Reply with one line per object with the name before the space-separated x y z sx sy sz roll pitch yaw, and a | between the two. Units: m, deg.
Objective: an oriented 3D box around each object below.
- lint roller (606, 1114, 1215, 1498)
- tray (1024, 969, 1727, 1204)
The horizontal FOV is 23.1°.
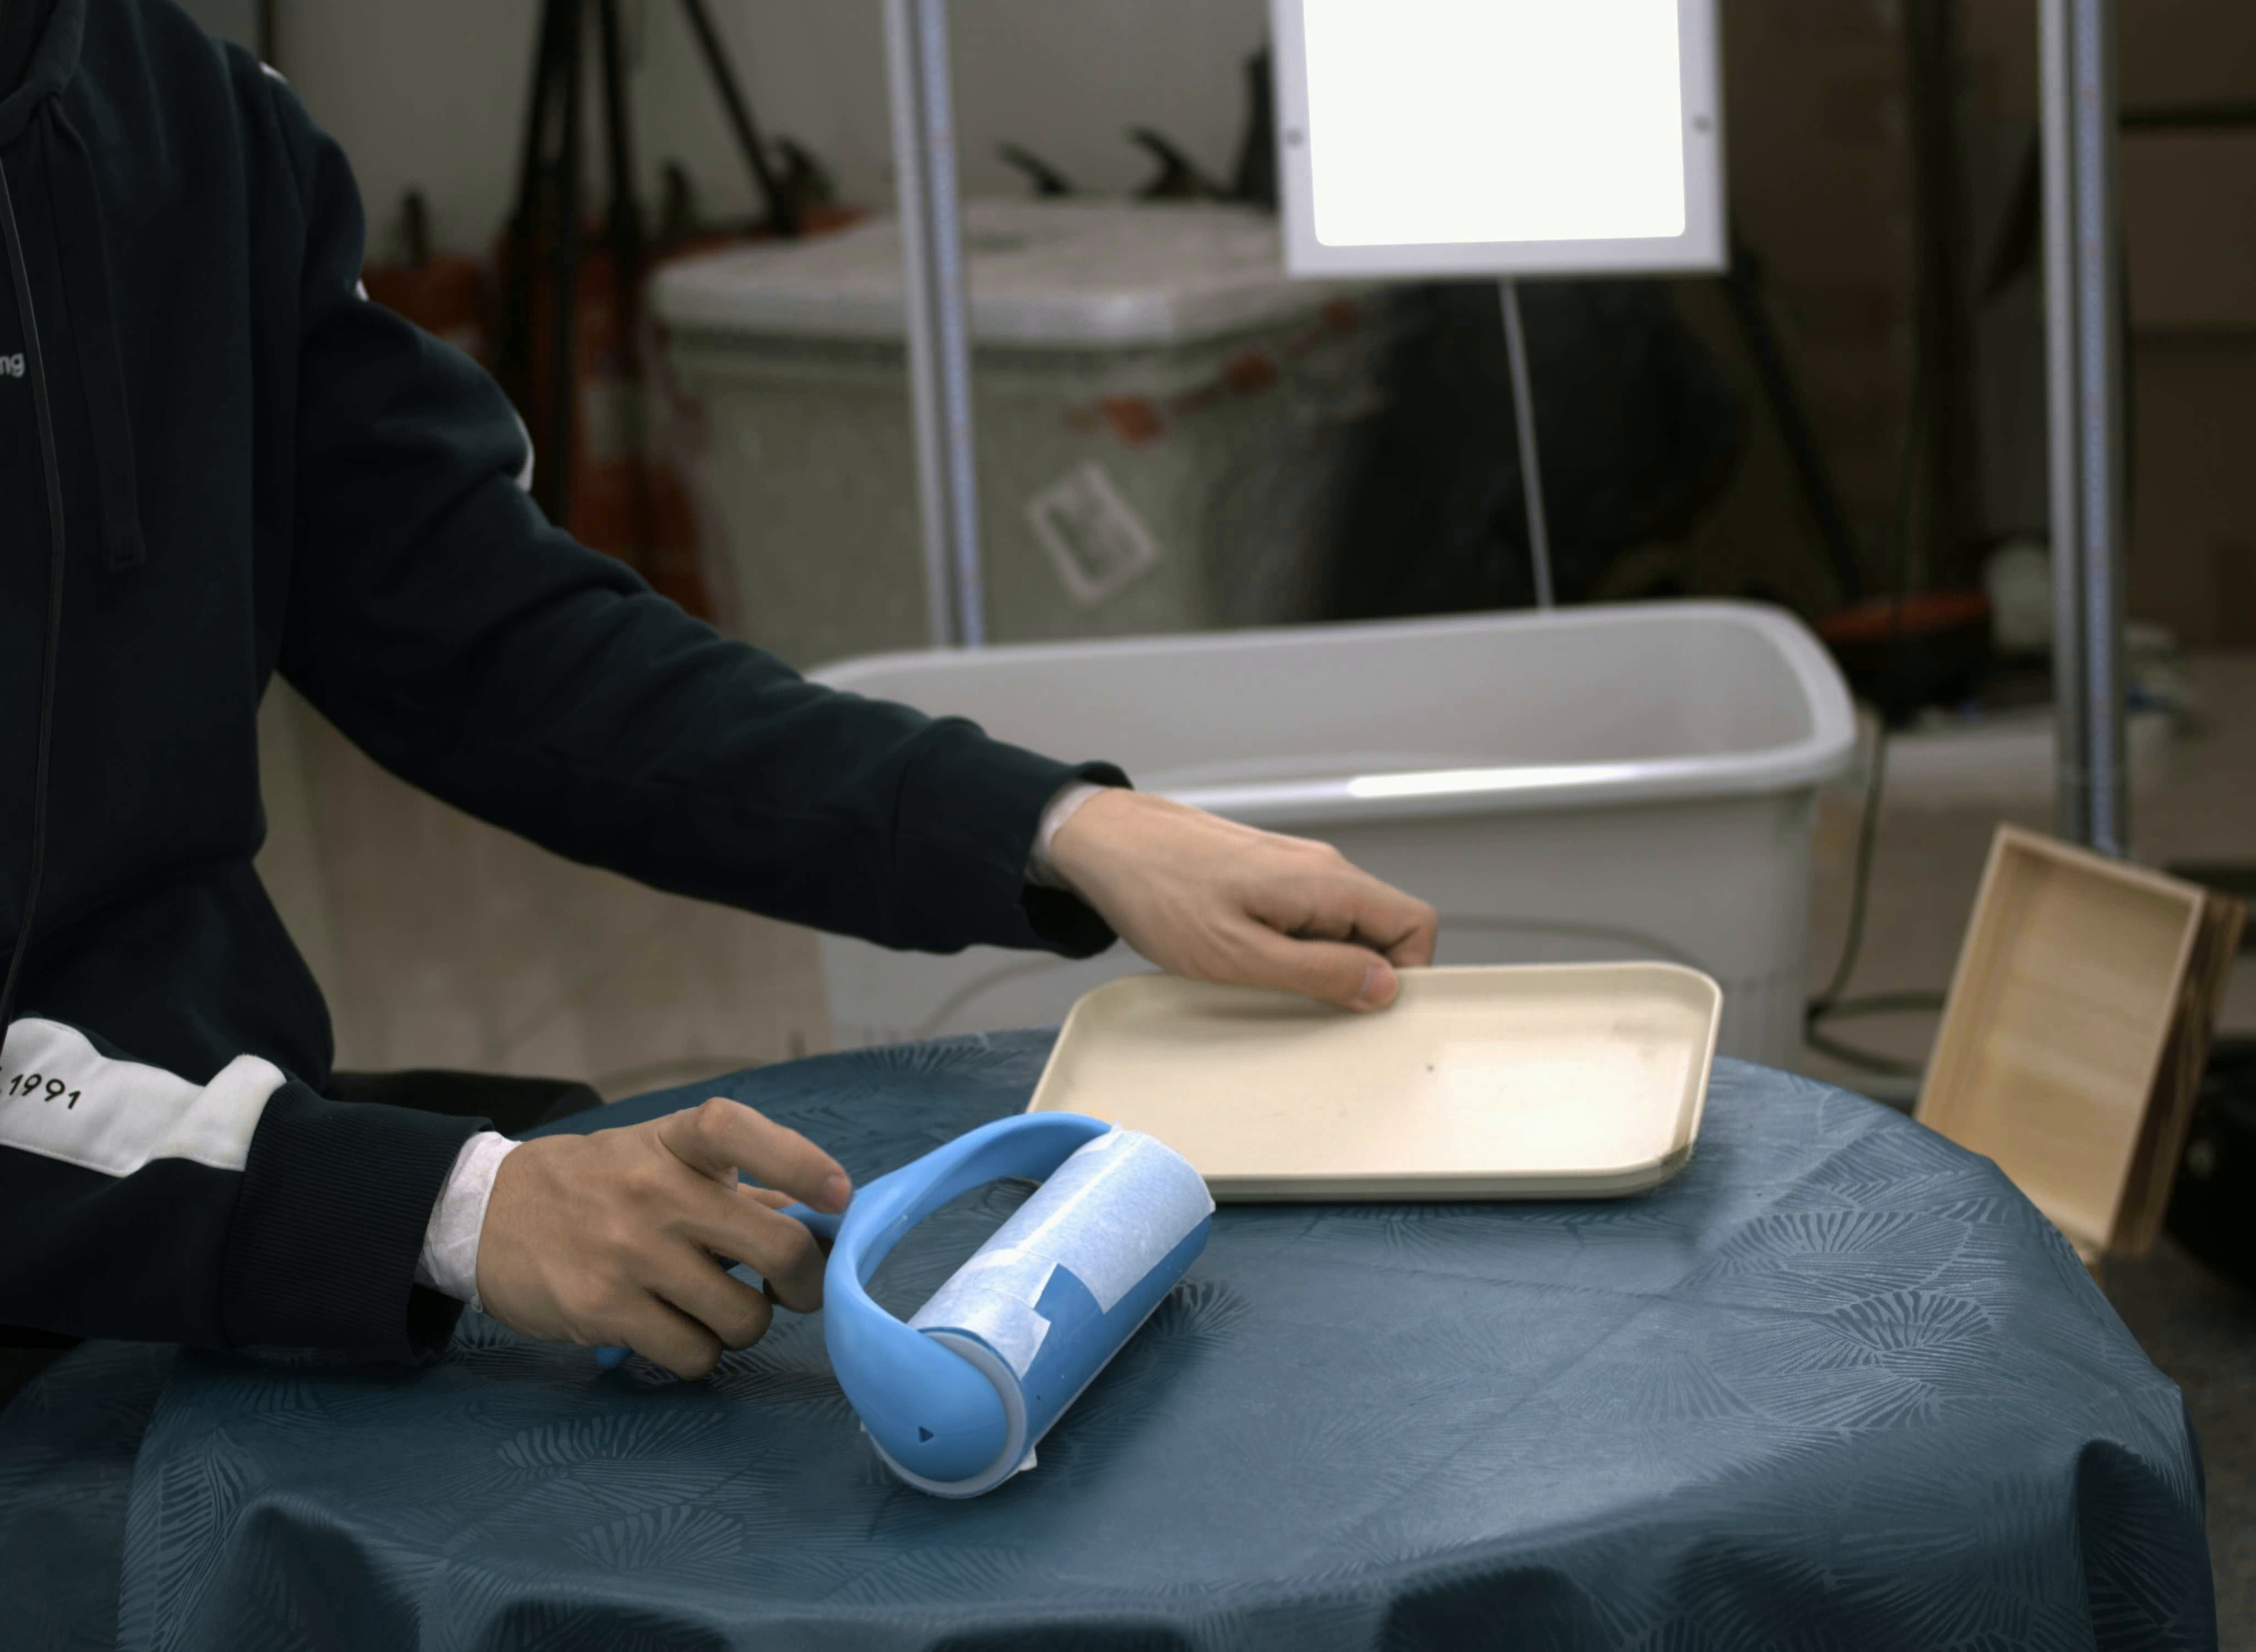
lint roller | -0.081 0.147 1.720 0.182 0.068 0.225 0 16 16
tray | 0.088 0.092 1.926 0.242 0.017 0.169 -2 21 14
